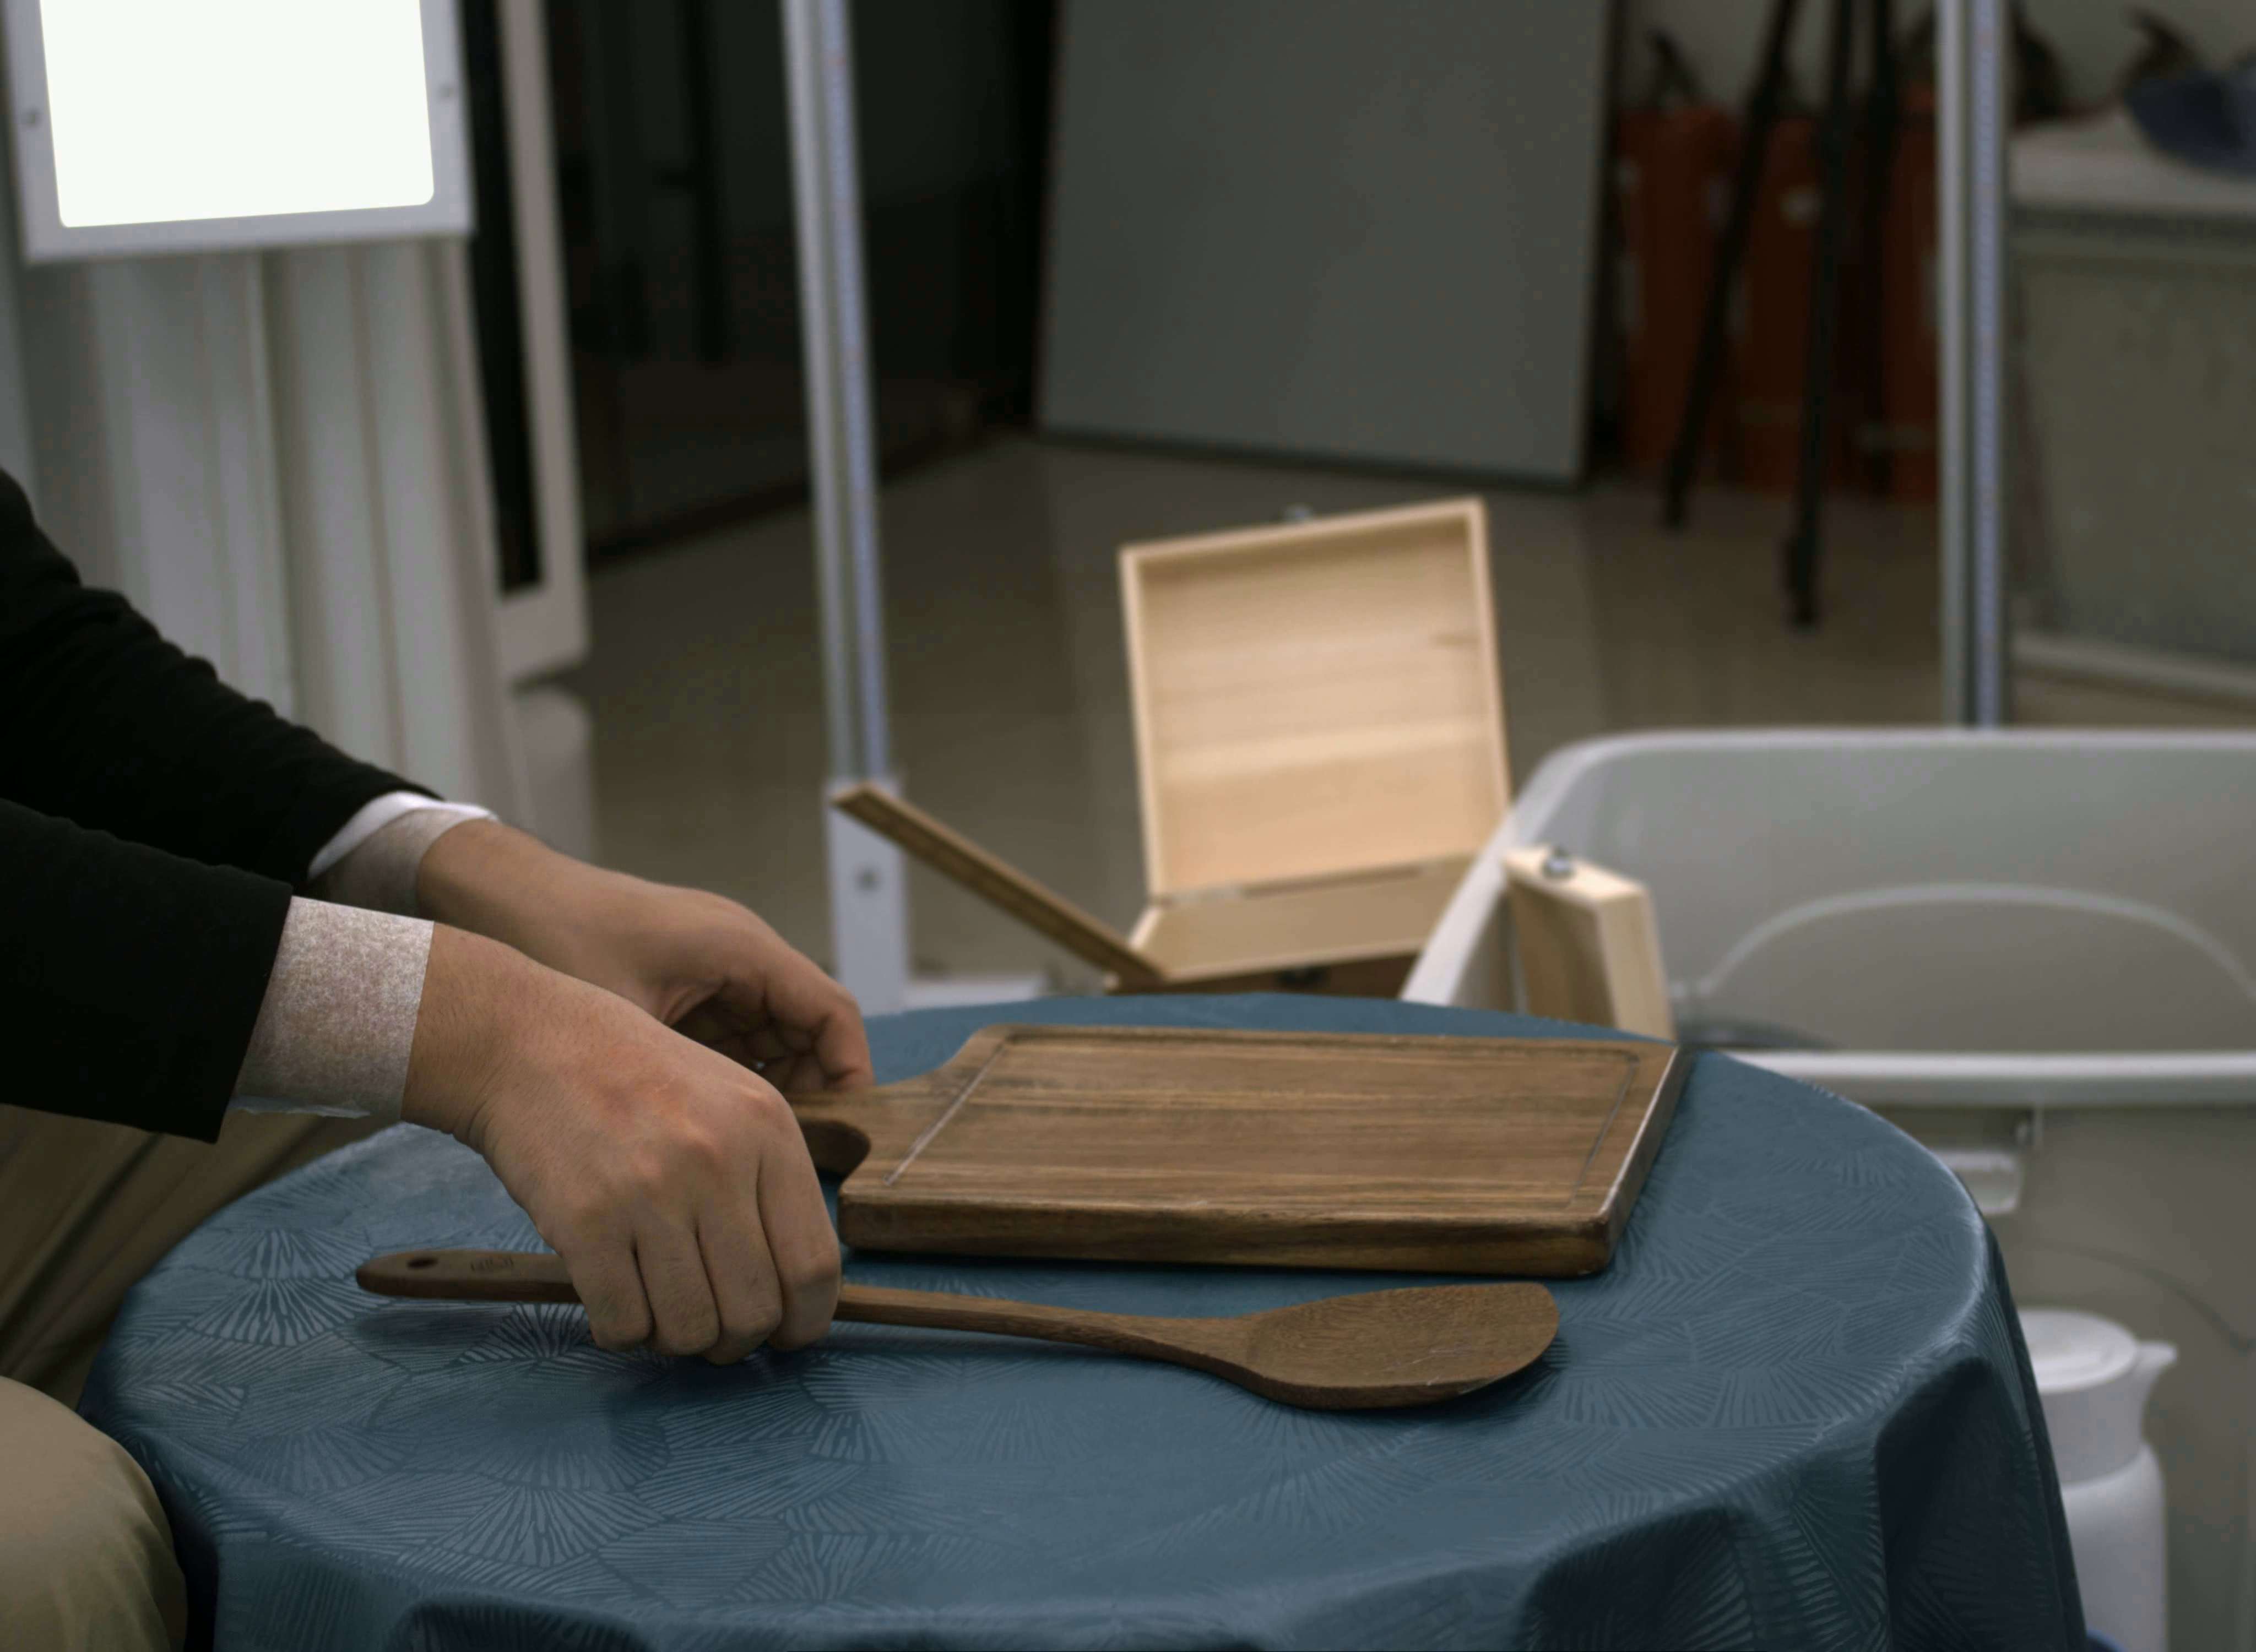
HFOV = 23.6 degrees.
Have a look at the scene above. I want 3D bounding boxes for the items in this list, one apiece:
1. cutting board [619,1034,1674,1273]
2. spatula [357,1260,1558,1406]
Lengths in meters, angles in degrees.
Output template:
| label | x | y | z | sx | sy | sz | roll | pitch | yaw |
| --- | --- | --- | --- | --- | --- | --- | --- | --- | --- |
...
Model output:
| label | x | y | z | sx | sy | sz | roll | pitch | yaw |
| --- | --- | --- | --- | --- | --- | --- | --- | --- | --- |
| cutting board | 0.000 | 0.105 | 1.784 | 0.350 | 0.023 | 0.200 | 0 | 14 | 14 |
| spatula | -0.058 | 0.148 | 1.634 | 0.385 | 0.016 | 0.095 | 2 | 14 | 18 |
